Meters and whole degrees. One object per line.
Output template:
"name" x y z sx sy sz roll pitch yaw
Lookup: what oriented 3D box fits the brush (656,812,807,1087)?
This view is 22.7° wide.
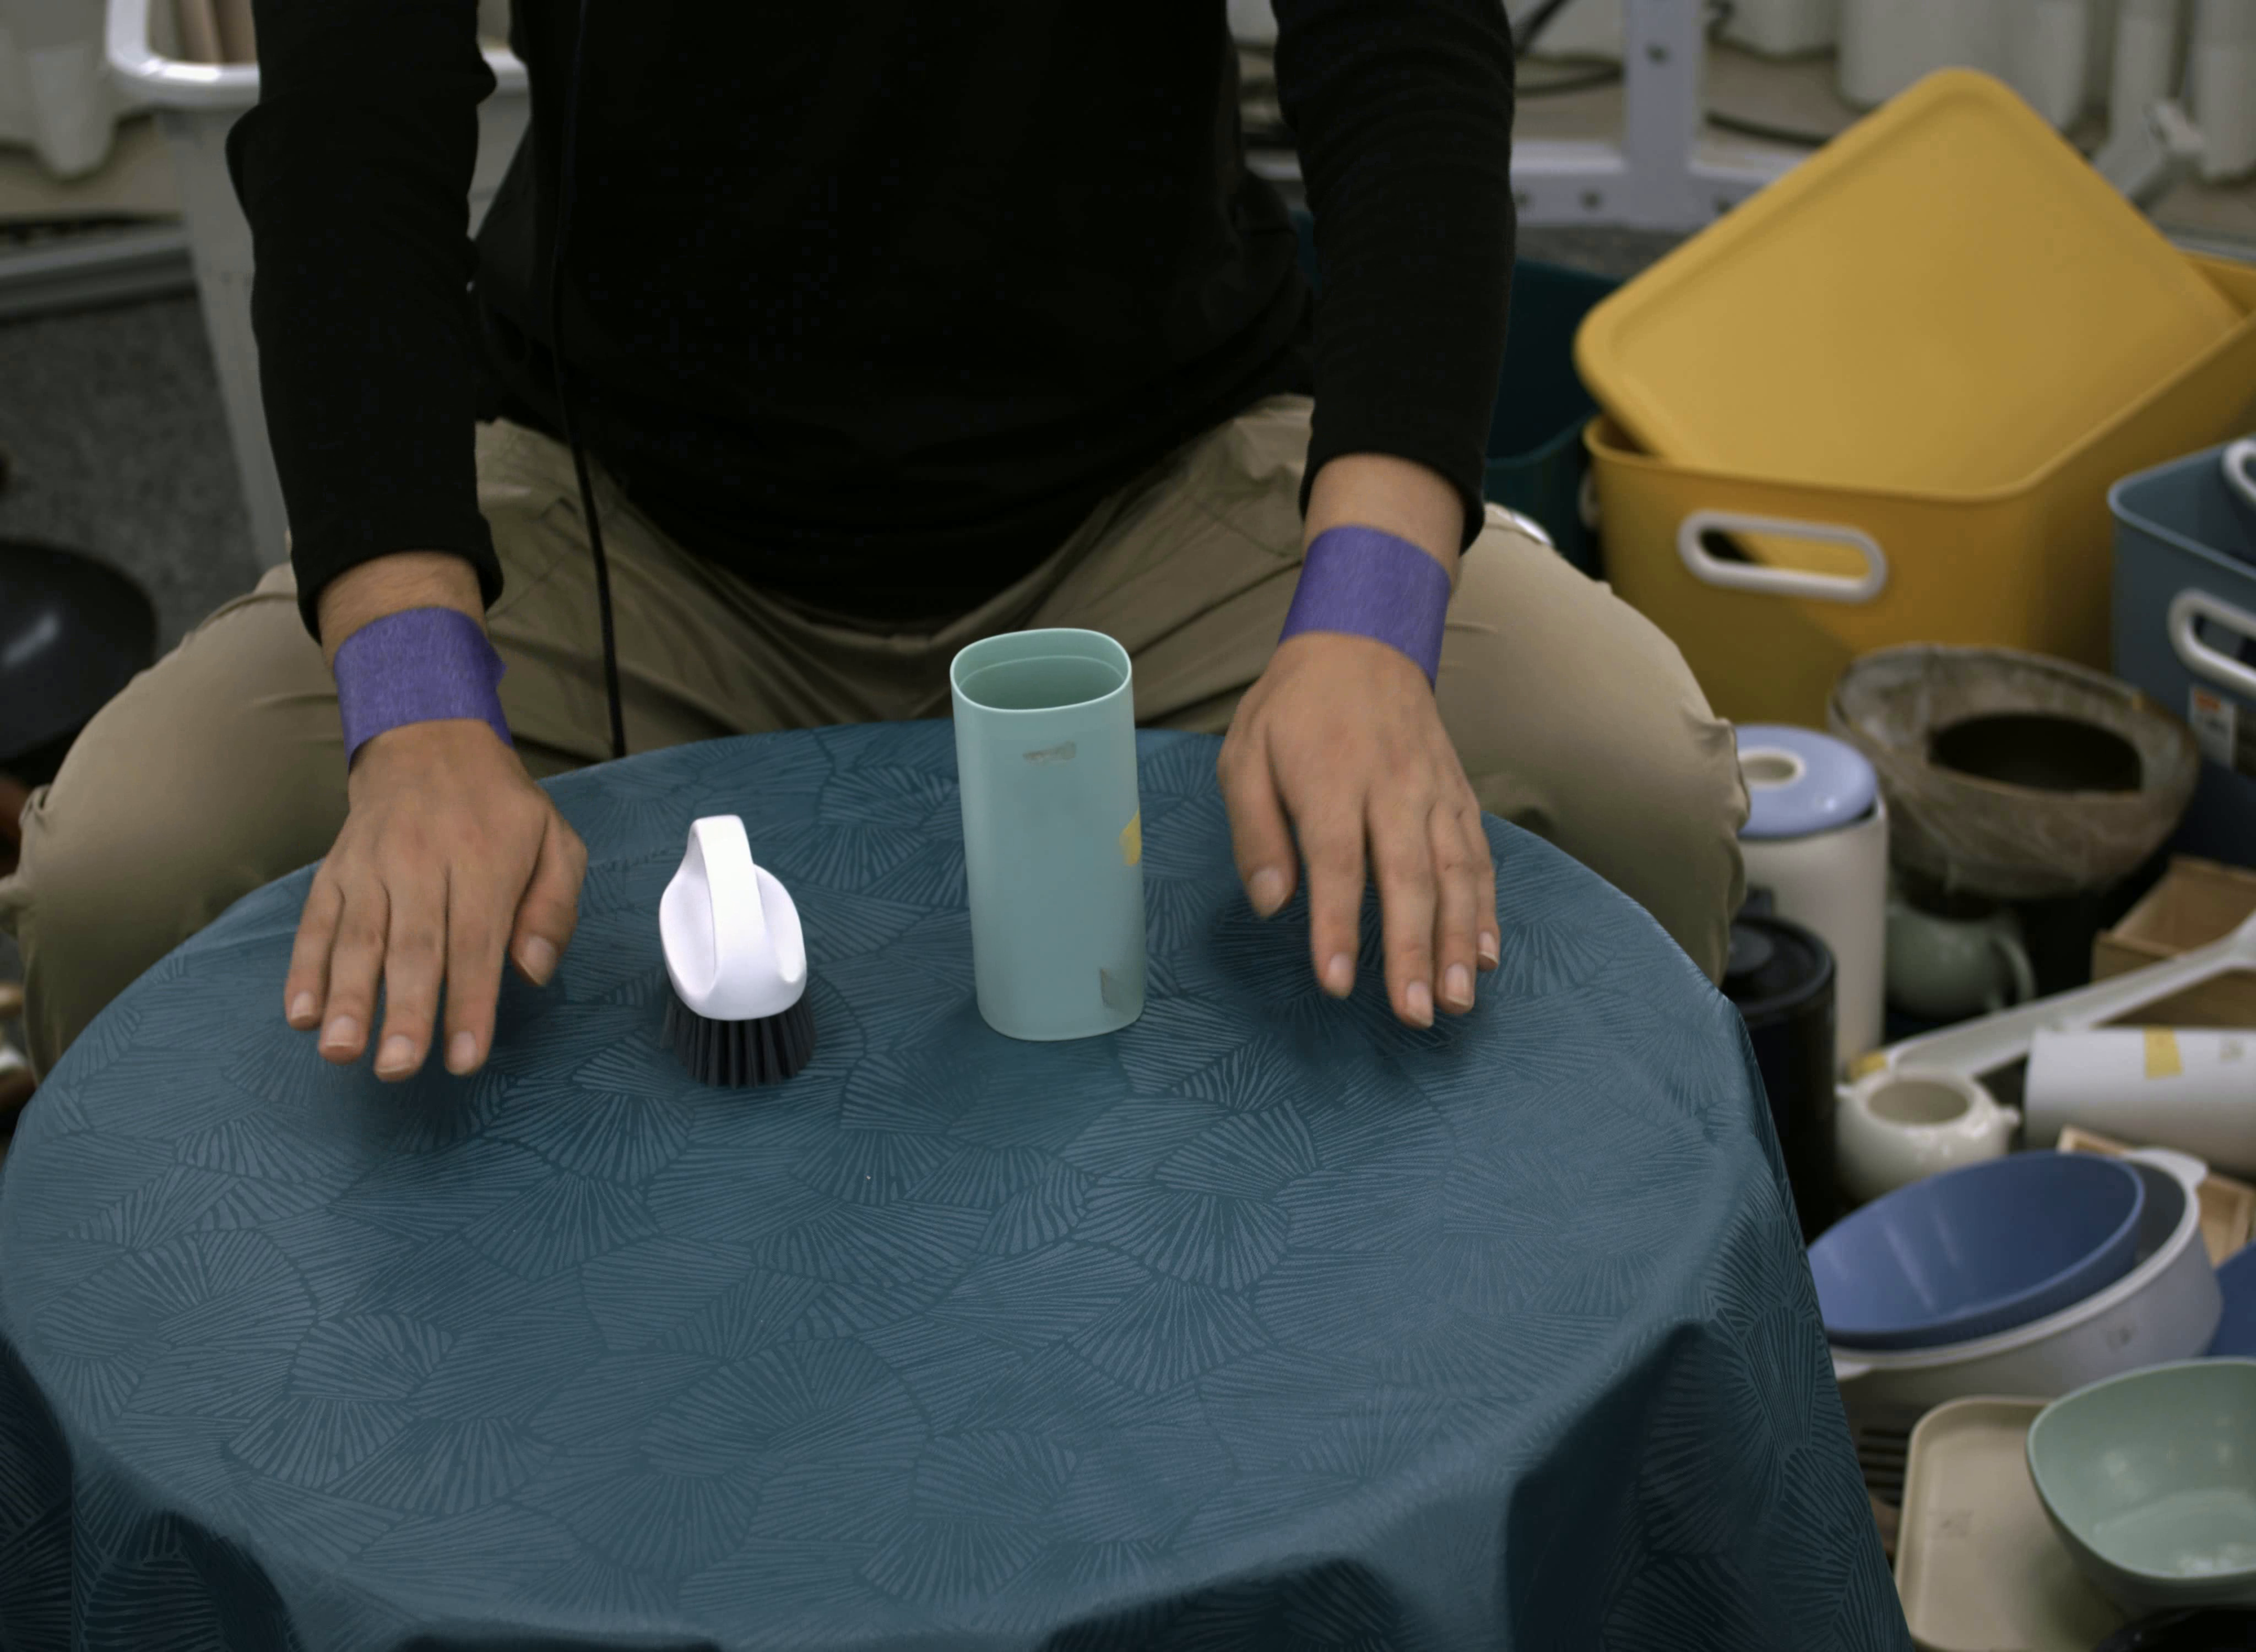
"brush" -0.140 0.037 1.960 0.050 0.072 0.100 -5 28 -6

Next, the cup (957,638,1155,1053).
"cup" -0.026 0.007 1.953 0.066 0.131 0.068 -3 27 2
